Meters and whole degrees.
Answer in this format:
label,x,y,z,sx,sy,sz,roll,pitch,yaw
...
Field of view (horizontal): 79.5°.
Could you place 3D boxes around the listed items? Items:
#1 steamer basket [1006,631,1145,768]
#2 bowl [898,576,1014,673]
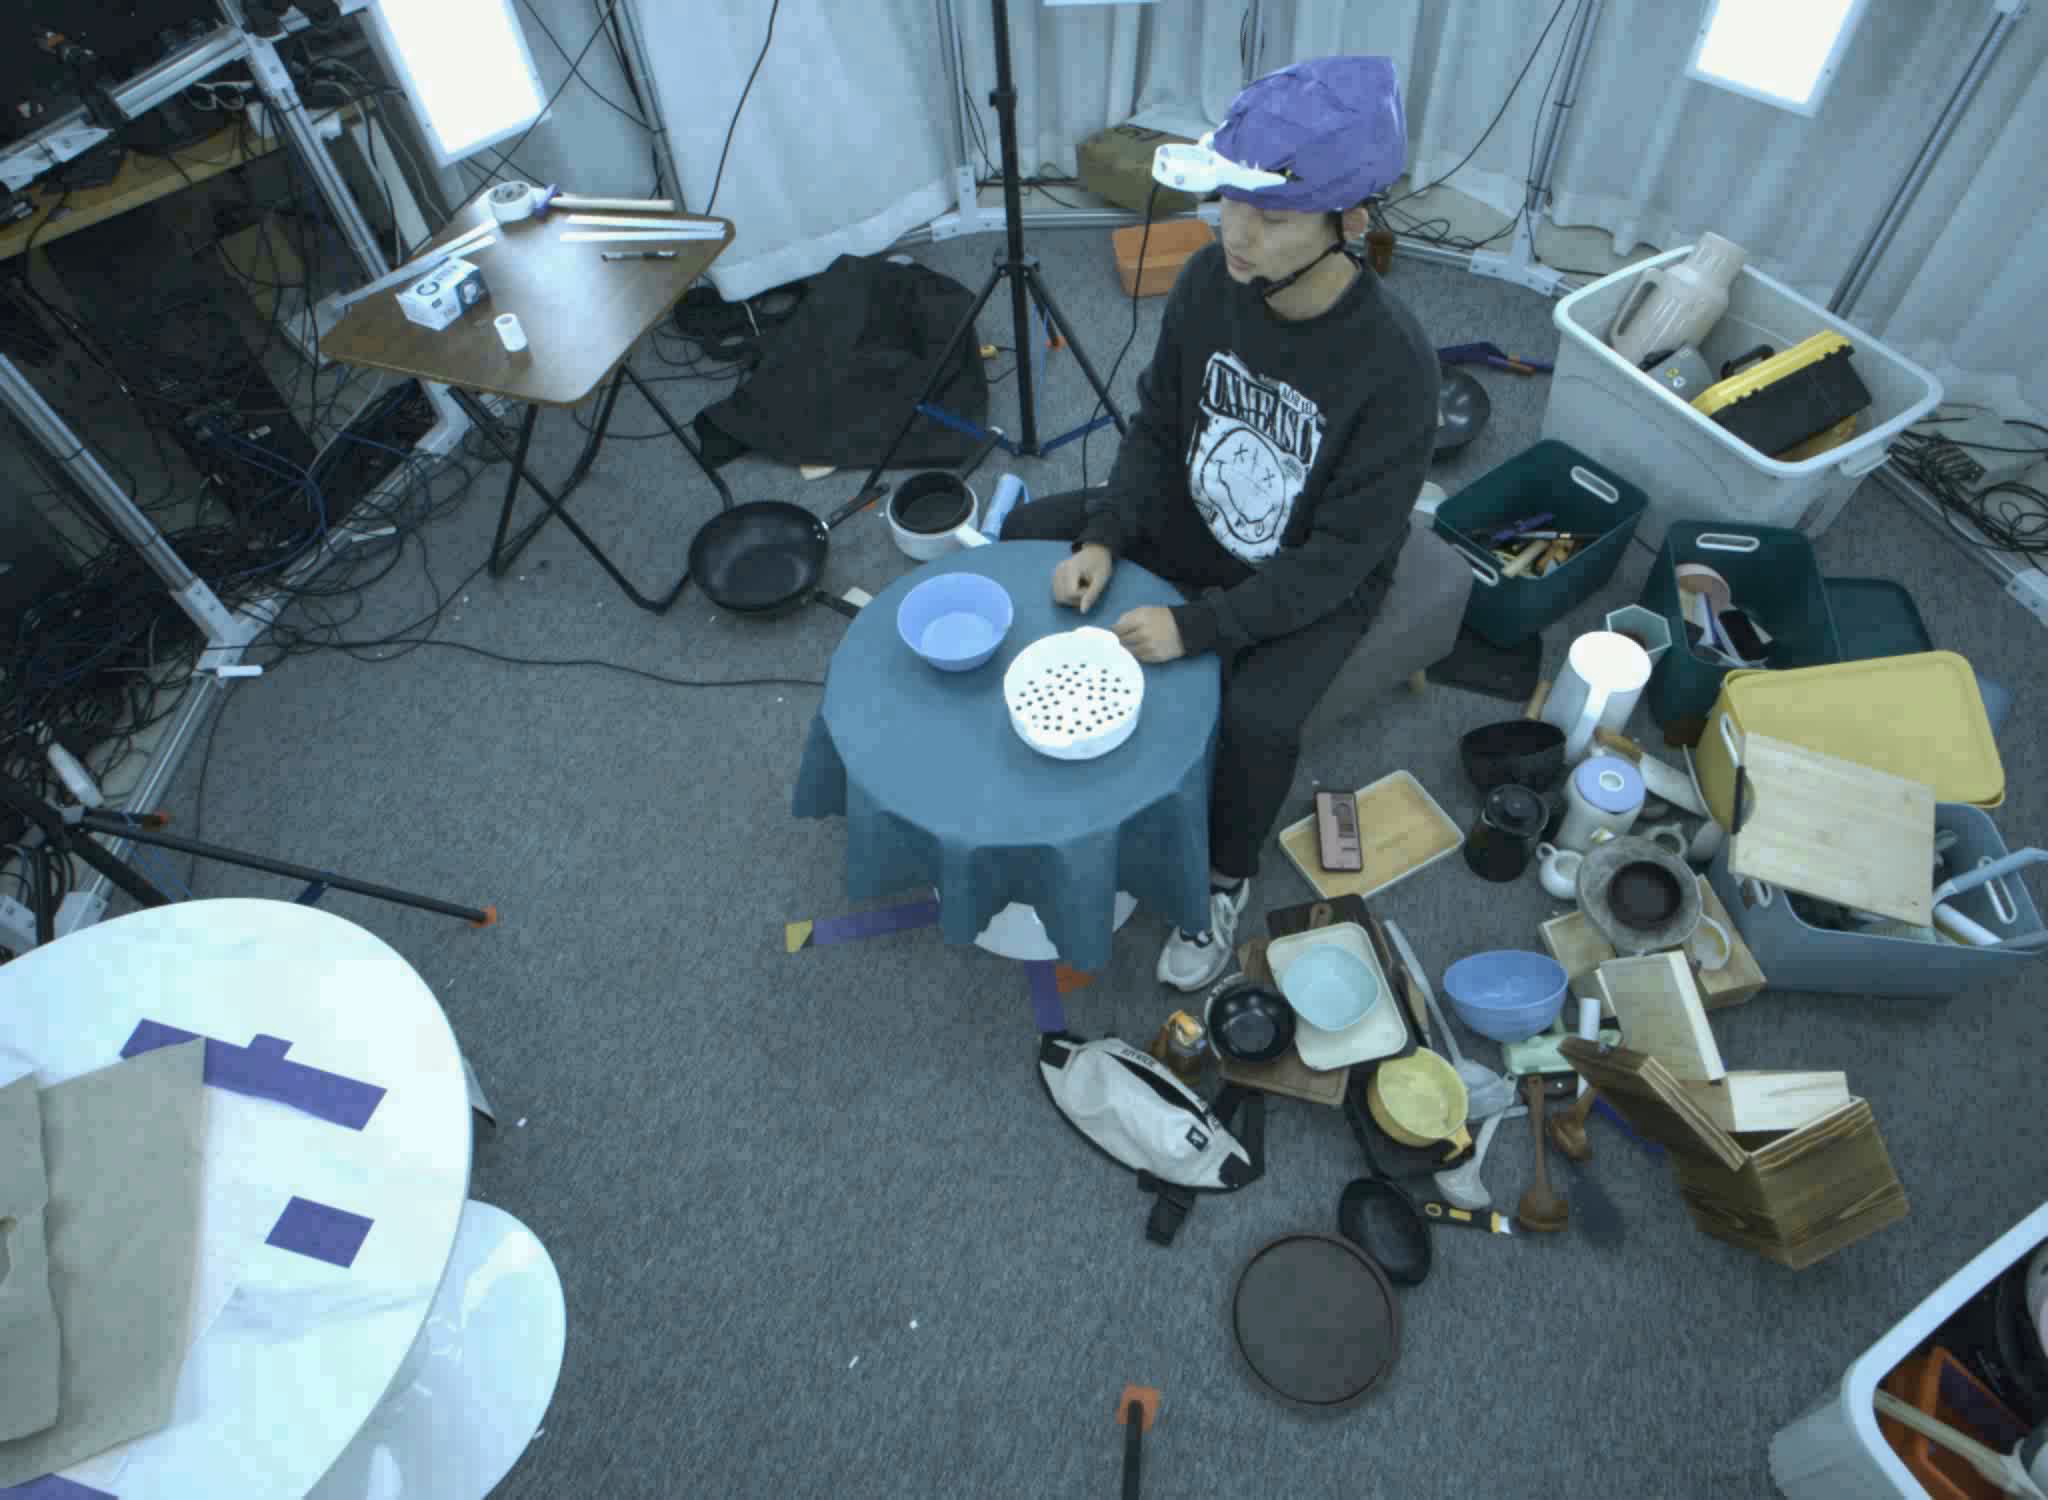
label,x,y,z,sx,sy,sz,roll,pitch,yaw
steamer basket,0.076,-0.069,1.802,0.200,0.070,0.230,16,59,13
bowl,-0.102,-0.183,1.886,0.176,0.071,0.174,0,55,1
